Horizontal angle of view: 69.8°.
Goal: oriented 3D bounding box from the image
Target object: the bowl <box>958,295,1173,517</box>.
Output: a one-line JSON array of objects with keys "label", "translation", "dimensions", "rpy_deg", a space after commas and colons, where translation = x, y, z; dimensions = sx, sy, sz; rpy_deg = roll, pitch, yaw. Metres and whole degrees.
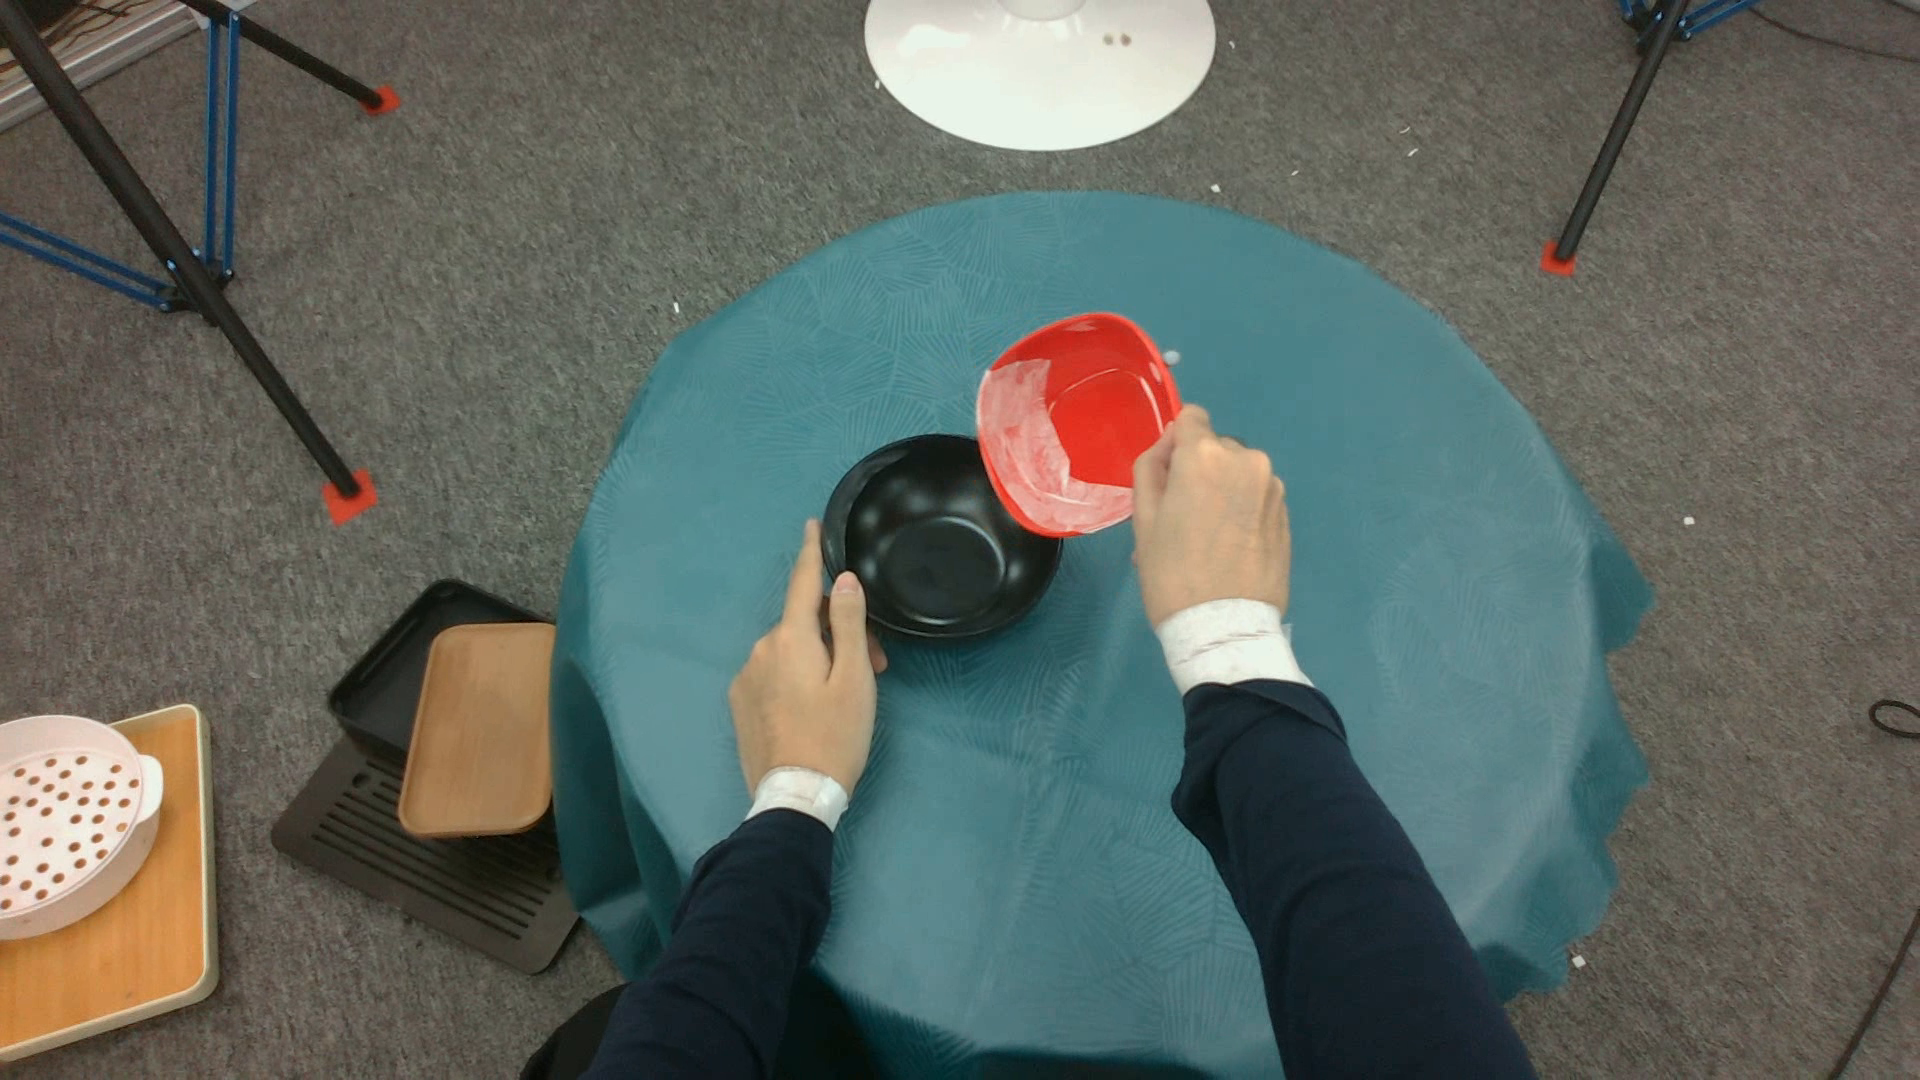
[{"label": "bowl", "translation": [0.060, -0.065, 0.714], "dimensions": [0.118, 0.051, 0.119], "rpy_deg": [-3, 82, 23]}]

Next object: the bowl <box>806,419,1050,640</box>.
[{"label": "bowl", "translation": [-0.018, 0.001, 0.799], "dimensions": [0.140, 0.049, 0.140], "rpy_deg": [0, 62, 0]}]
